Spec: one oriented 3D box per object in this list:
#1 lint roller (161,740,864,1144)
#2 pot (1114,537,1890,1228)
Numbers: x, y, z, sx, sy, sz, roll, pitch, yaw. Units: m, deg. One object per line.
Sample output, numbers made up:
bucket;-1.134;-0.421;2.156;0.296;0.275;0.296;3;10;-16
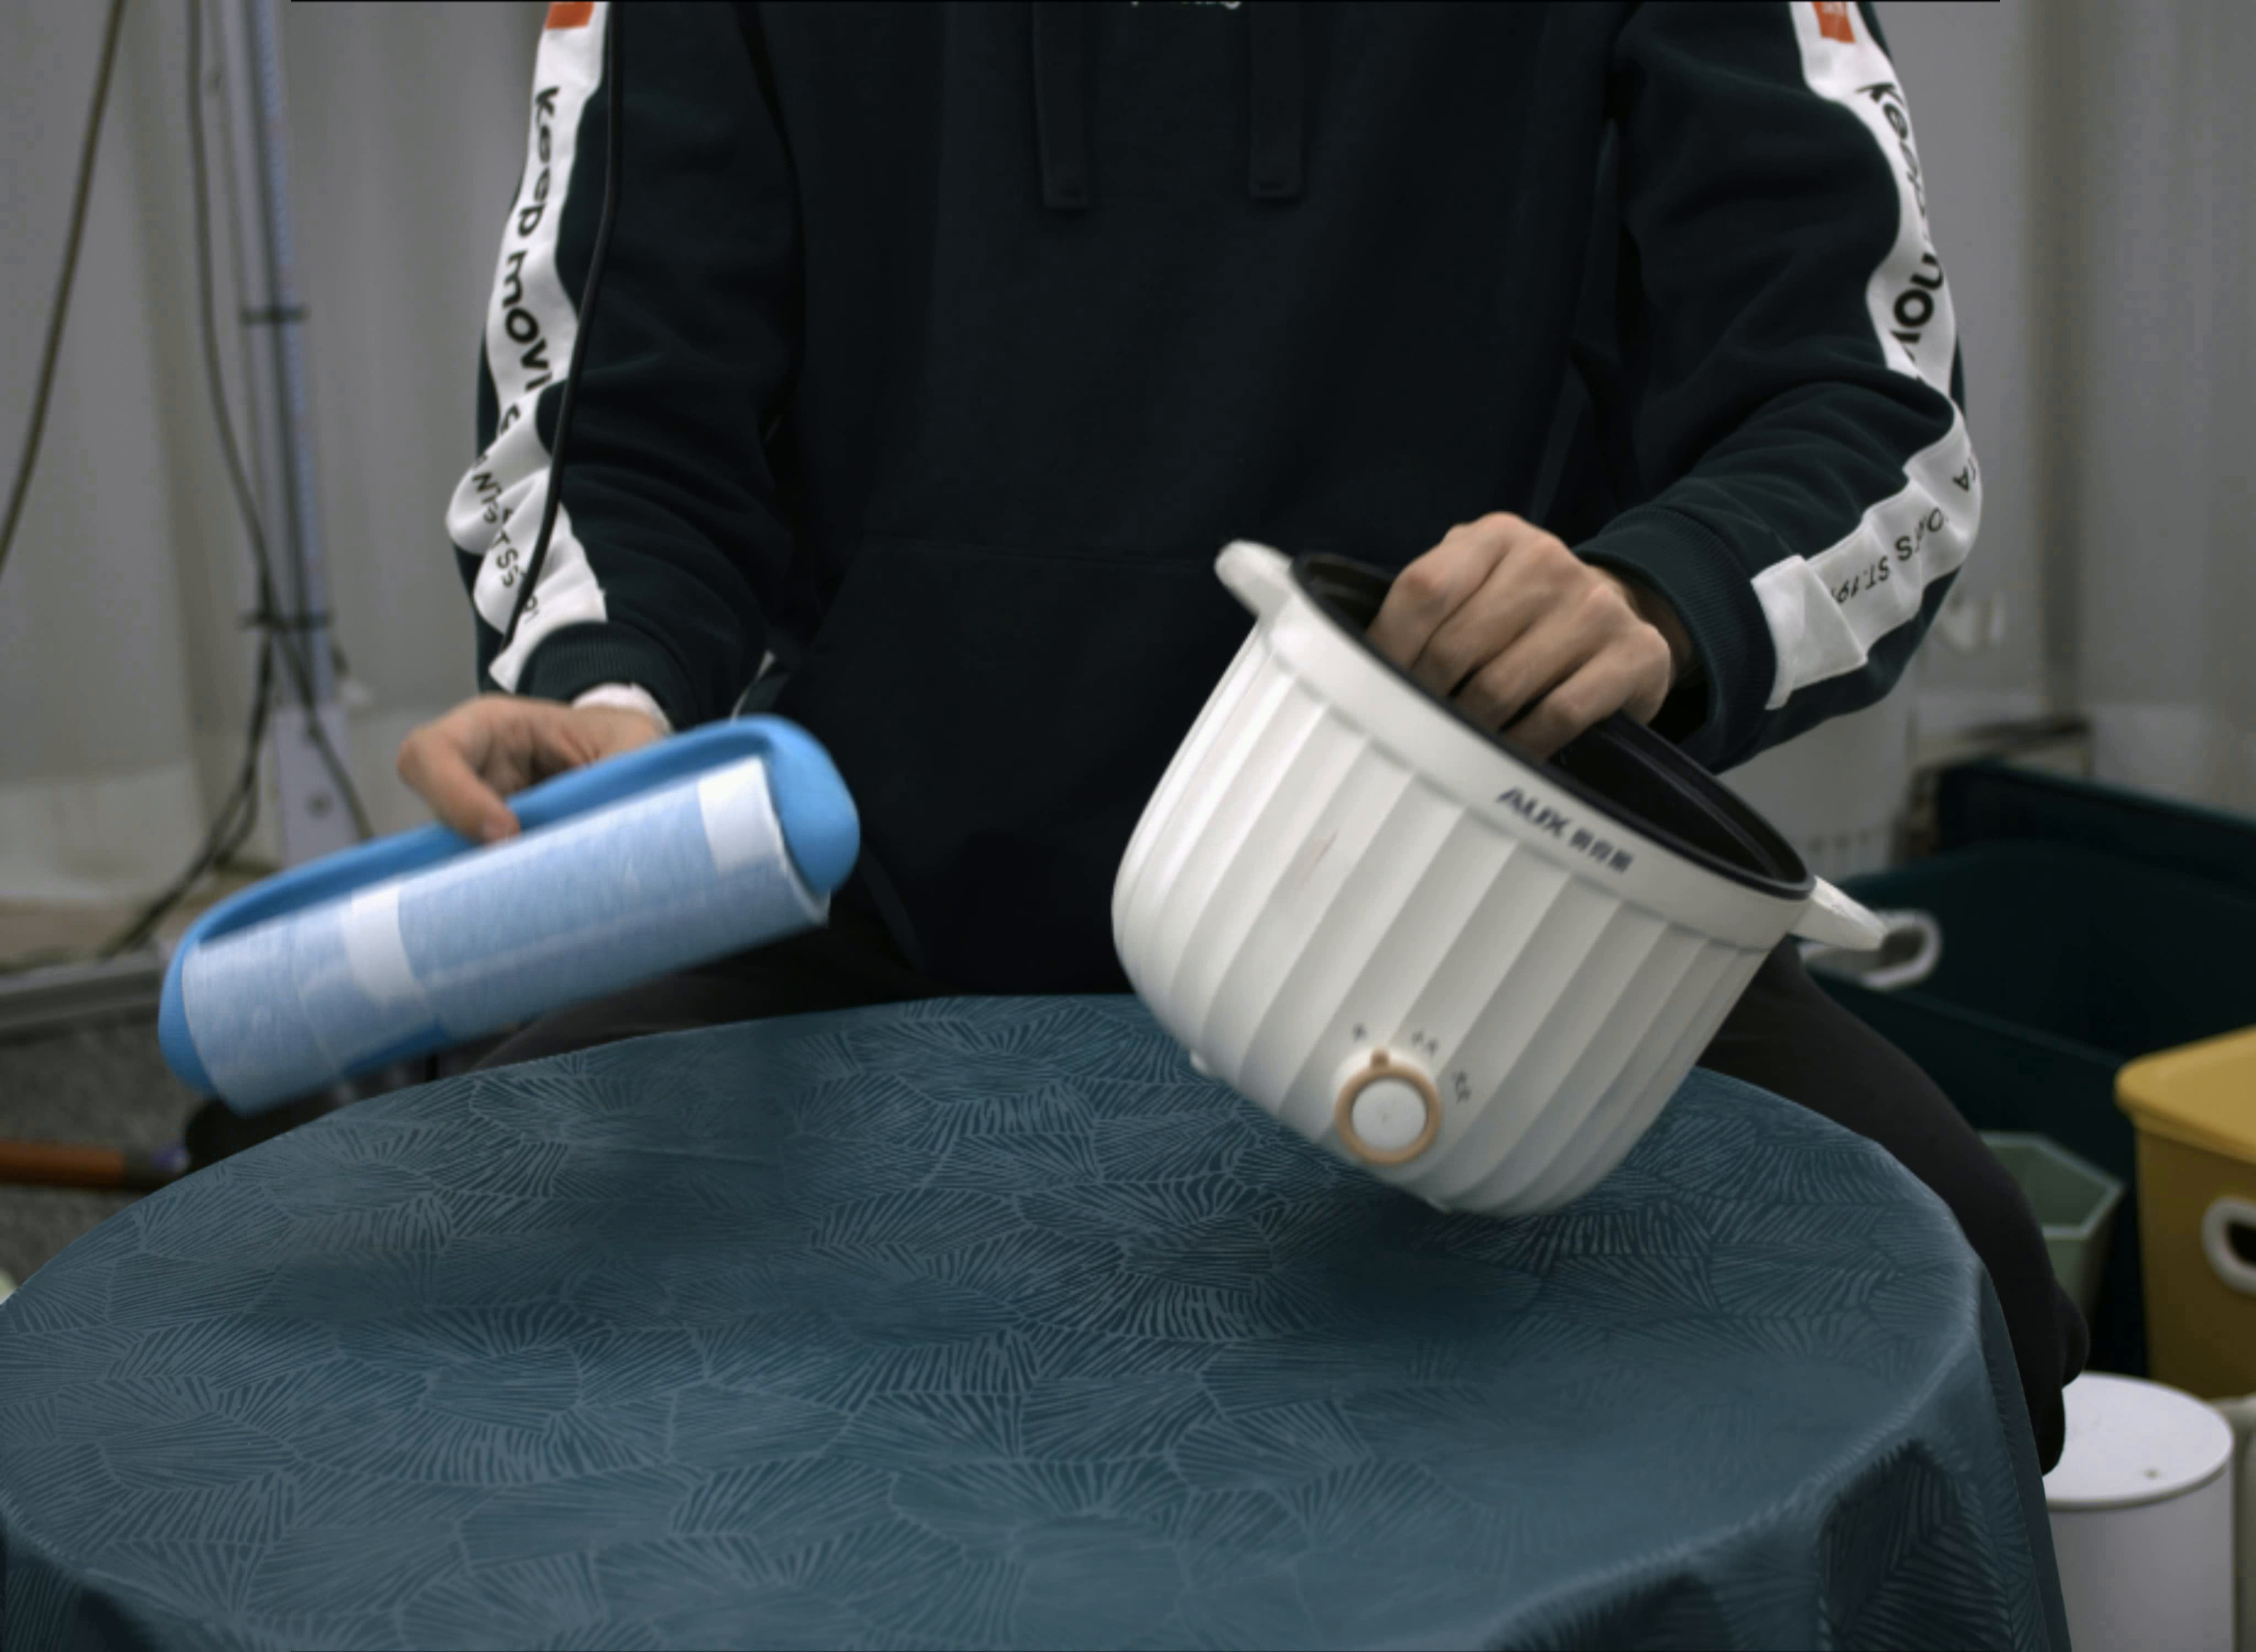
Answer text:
lint roller;-0.184;0.028;1.714;0.228;0.068;0.181;-21;9;7
pot;0.093;0.029;1.609;0.239;0.142;0.191;28;9;-7
